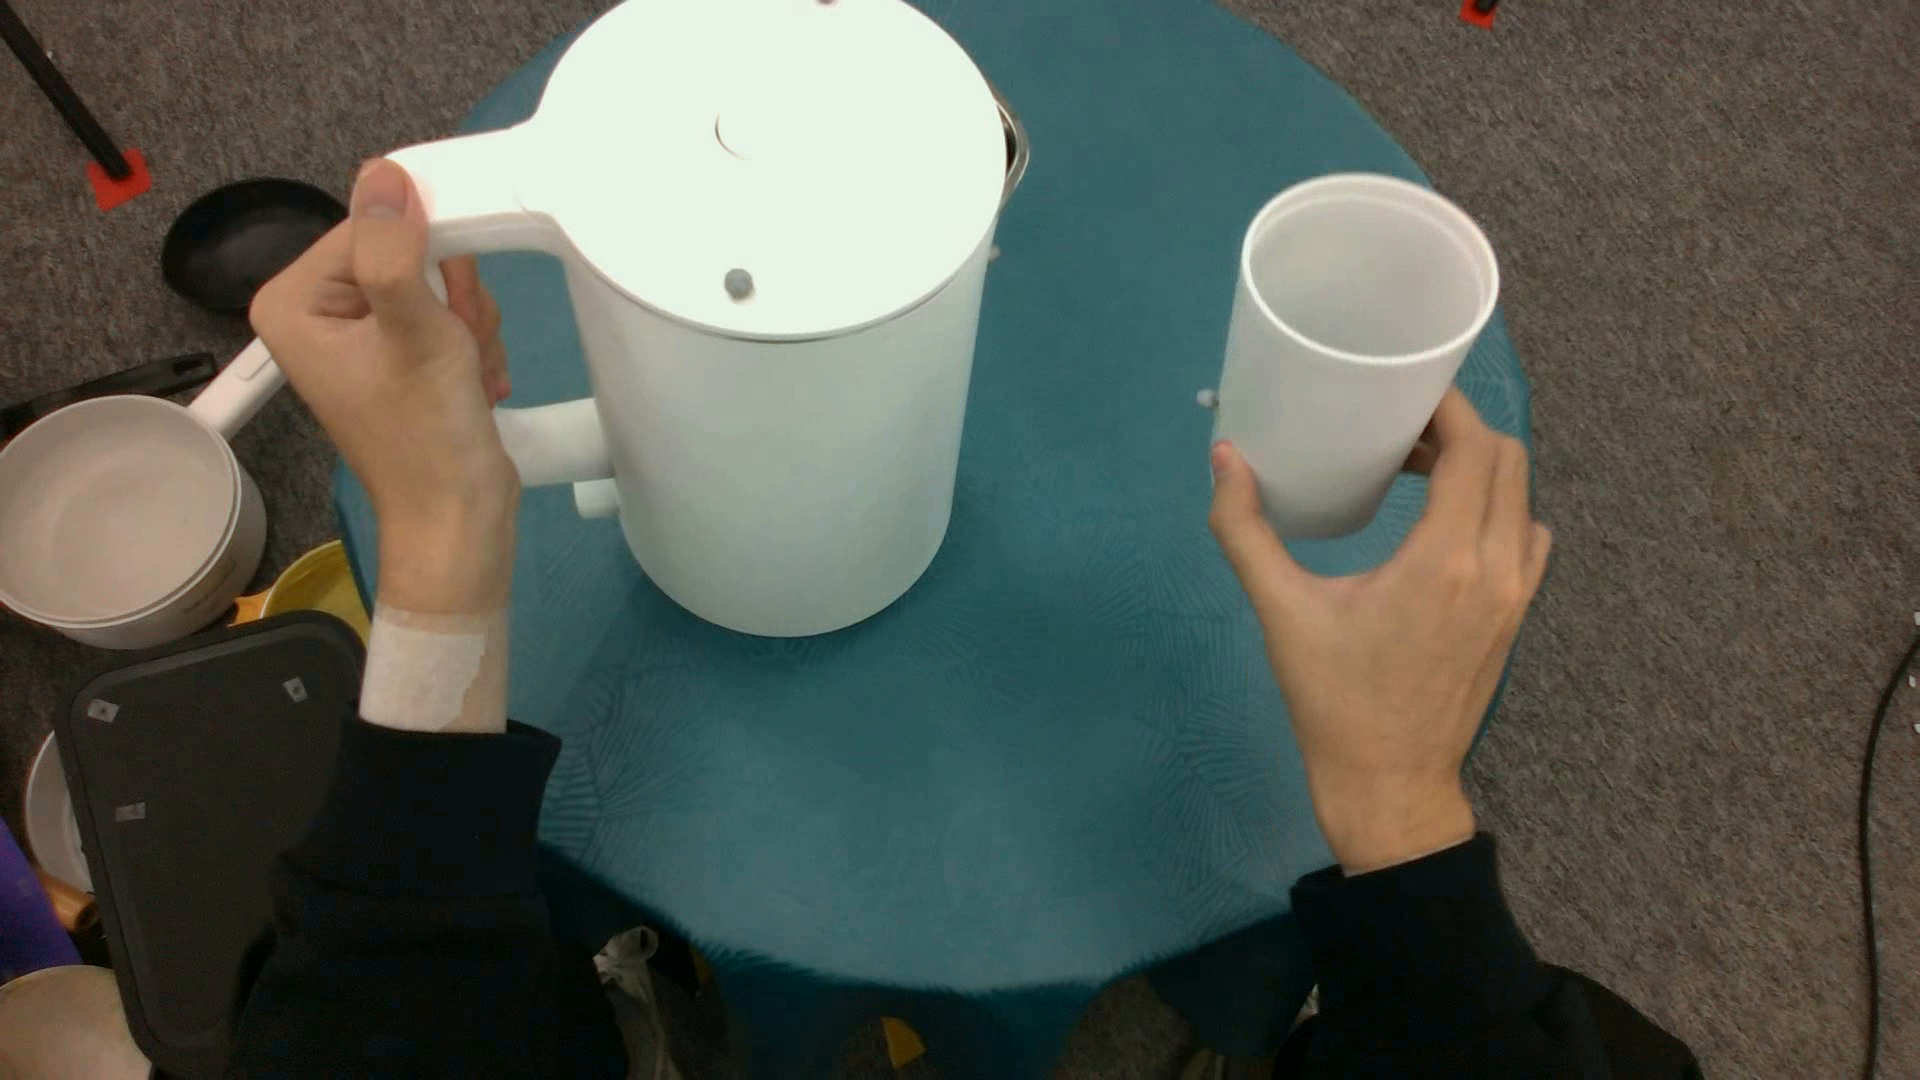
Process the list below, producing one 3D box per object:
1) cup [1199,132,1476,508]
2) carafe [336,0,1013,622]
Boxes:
[{"bbox_3d":[0.125,-0.071,0.492,0.081,0.125,0.082,-1,61,2],"label":"cup"},{"bbox_3d":[-0.101,-0.079,0.522,0.213,0.239,0.152,-9,65,-13],"label":"carafe"}]
